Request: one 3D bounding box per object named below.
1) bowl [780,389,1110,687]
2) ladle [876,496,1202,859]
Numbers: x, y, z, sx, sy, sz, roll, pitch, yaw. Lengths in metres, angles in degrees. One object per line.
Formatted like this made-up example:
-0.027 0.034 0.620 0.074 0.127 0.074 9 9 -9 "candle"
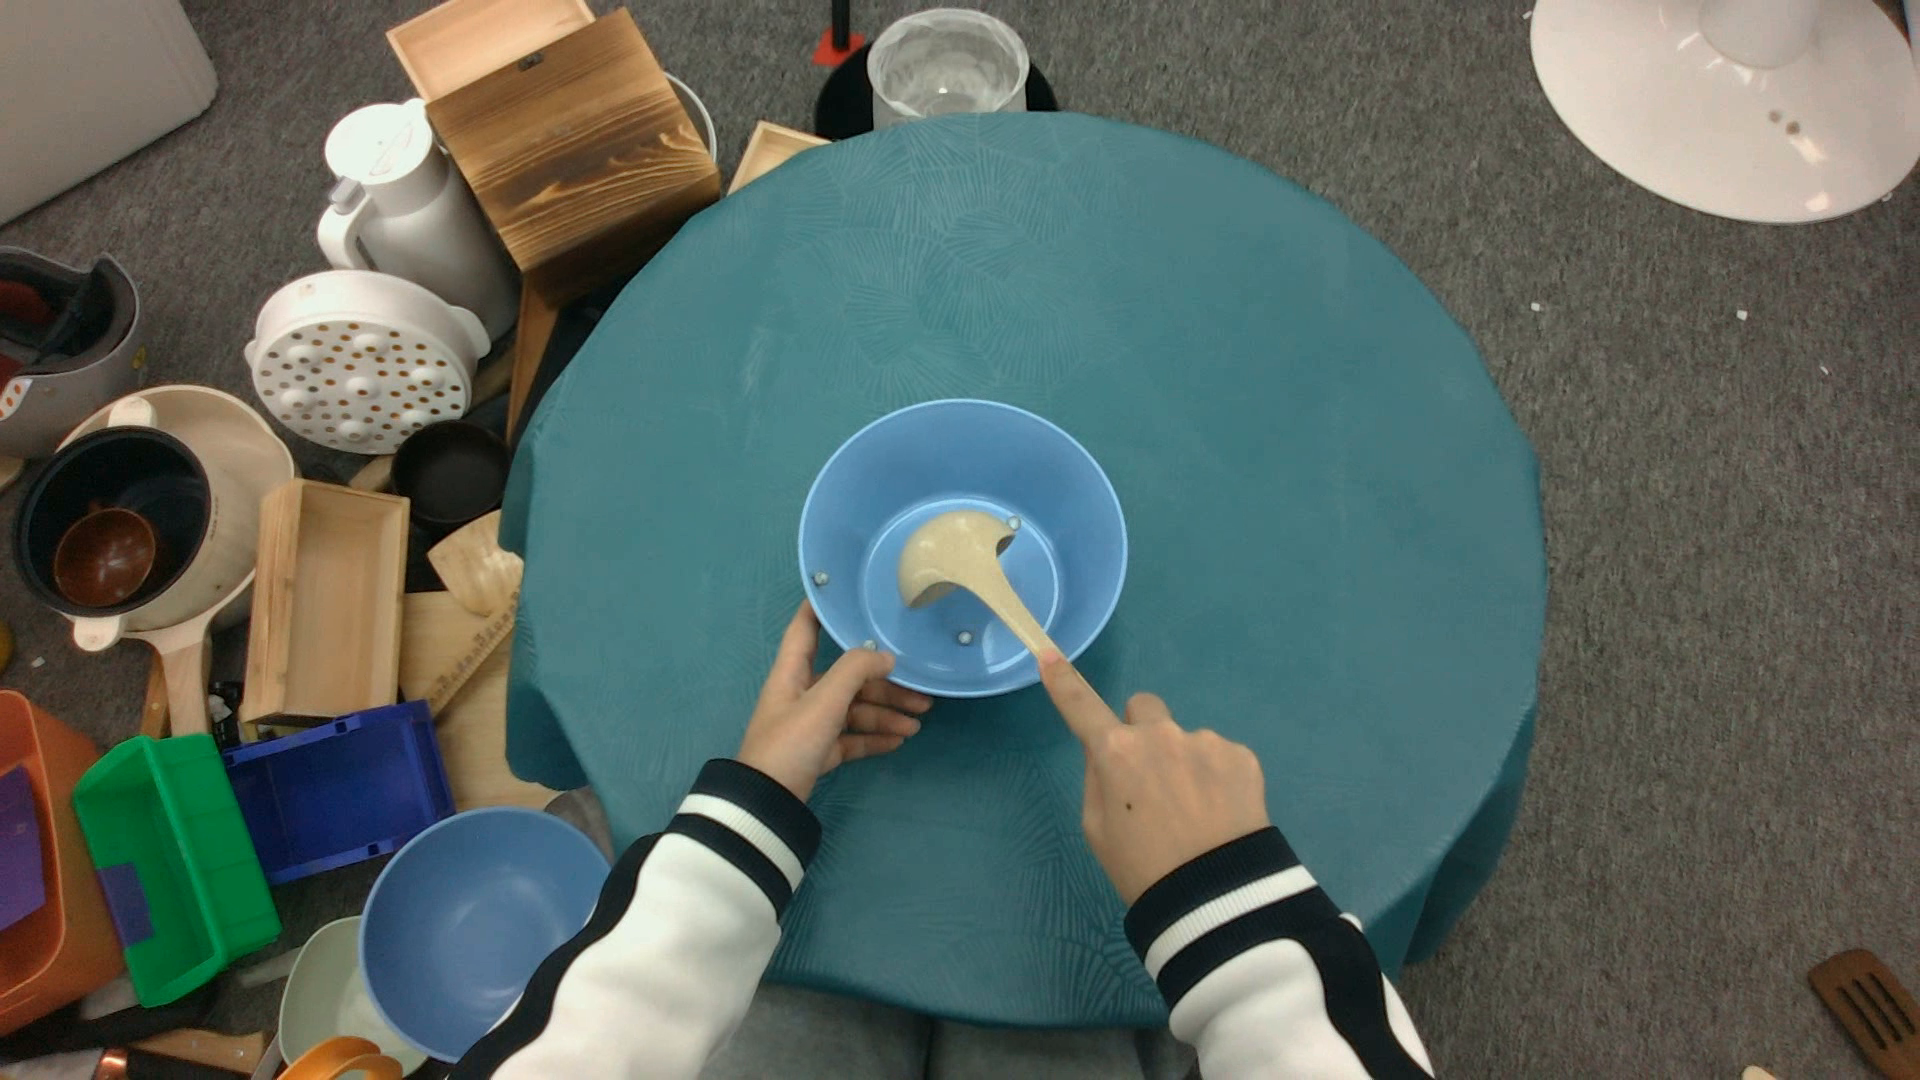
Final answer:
-0.008 0.008 0.760 0.176 0.070 0.176 1 64 -1 "bowl"
0.040 0.074 0.690 0.072 0.072 0.255 -31 55 -12 "ladle"
